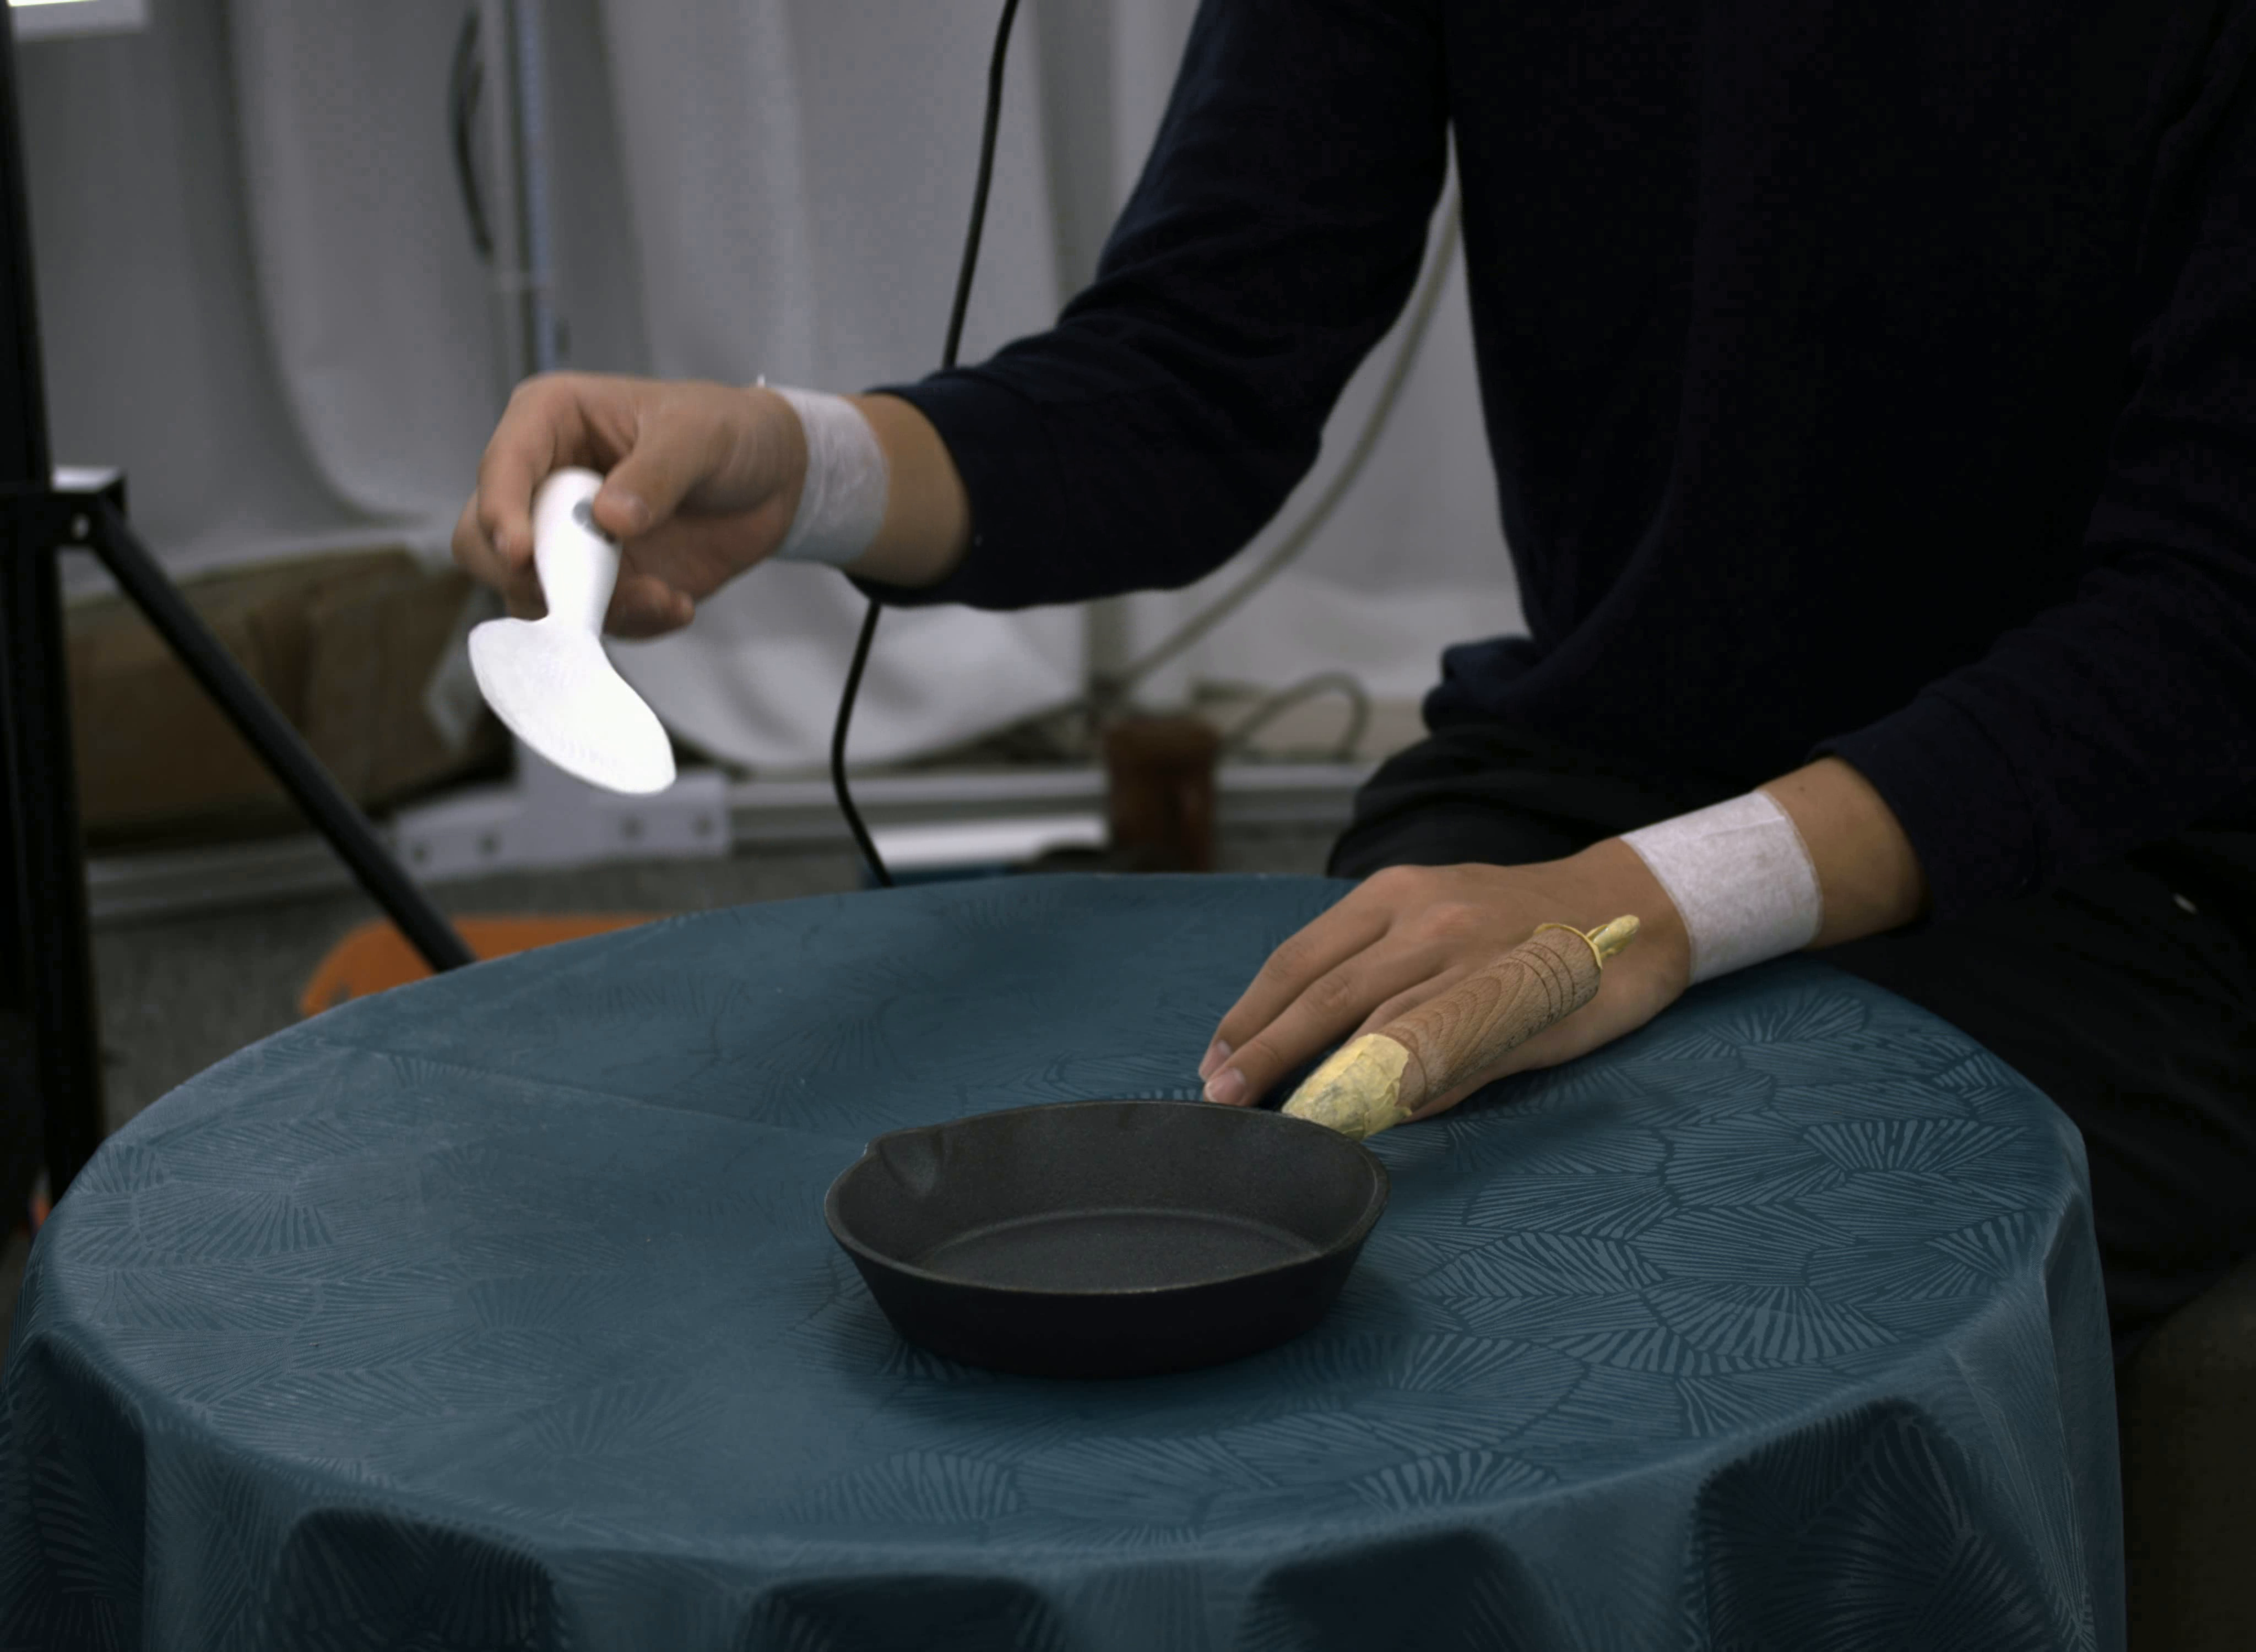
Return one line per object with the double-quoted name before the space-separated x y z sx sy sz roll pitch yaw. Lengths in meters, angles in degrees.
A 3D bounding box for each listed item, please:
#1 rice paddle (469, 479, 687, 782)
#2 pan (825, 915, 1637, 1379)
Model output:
"rice paddle" -0.160 -0.056 1.549 0.068 0.029 0.207 26 16 -15
"pan" 0.050 0.088 1.526 0.173 0.049 0.317 11 22 41
